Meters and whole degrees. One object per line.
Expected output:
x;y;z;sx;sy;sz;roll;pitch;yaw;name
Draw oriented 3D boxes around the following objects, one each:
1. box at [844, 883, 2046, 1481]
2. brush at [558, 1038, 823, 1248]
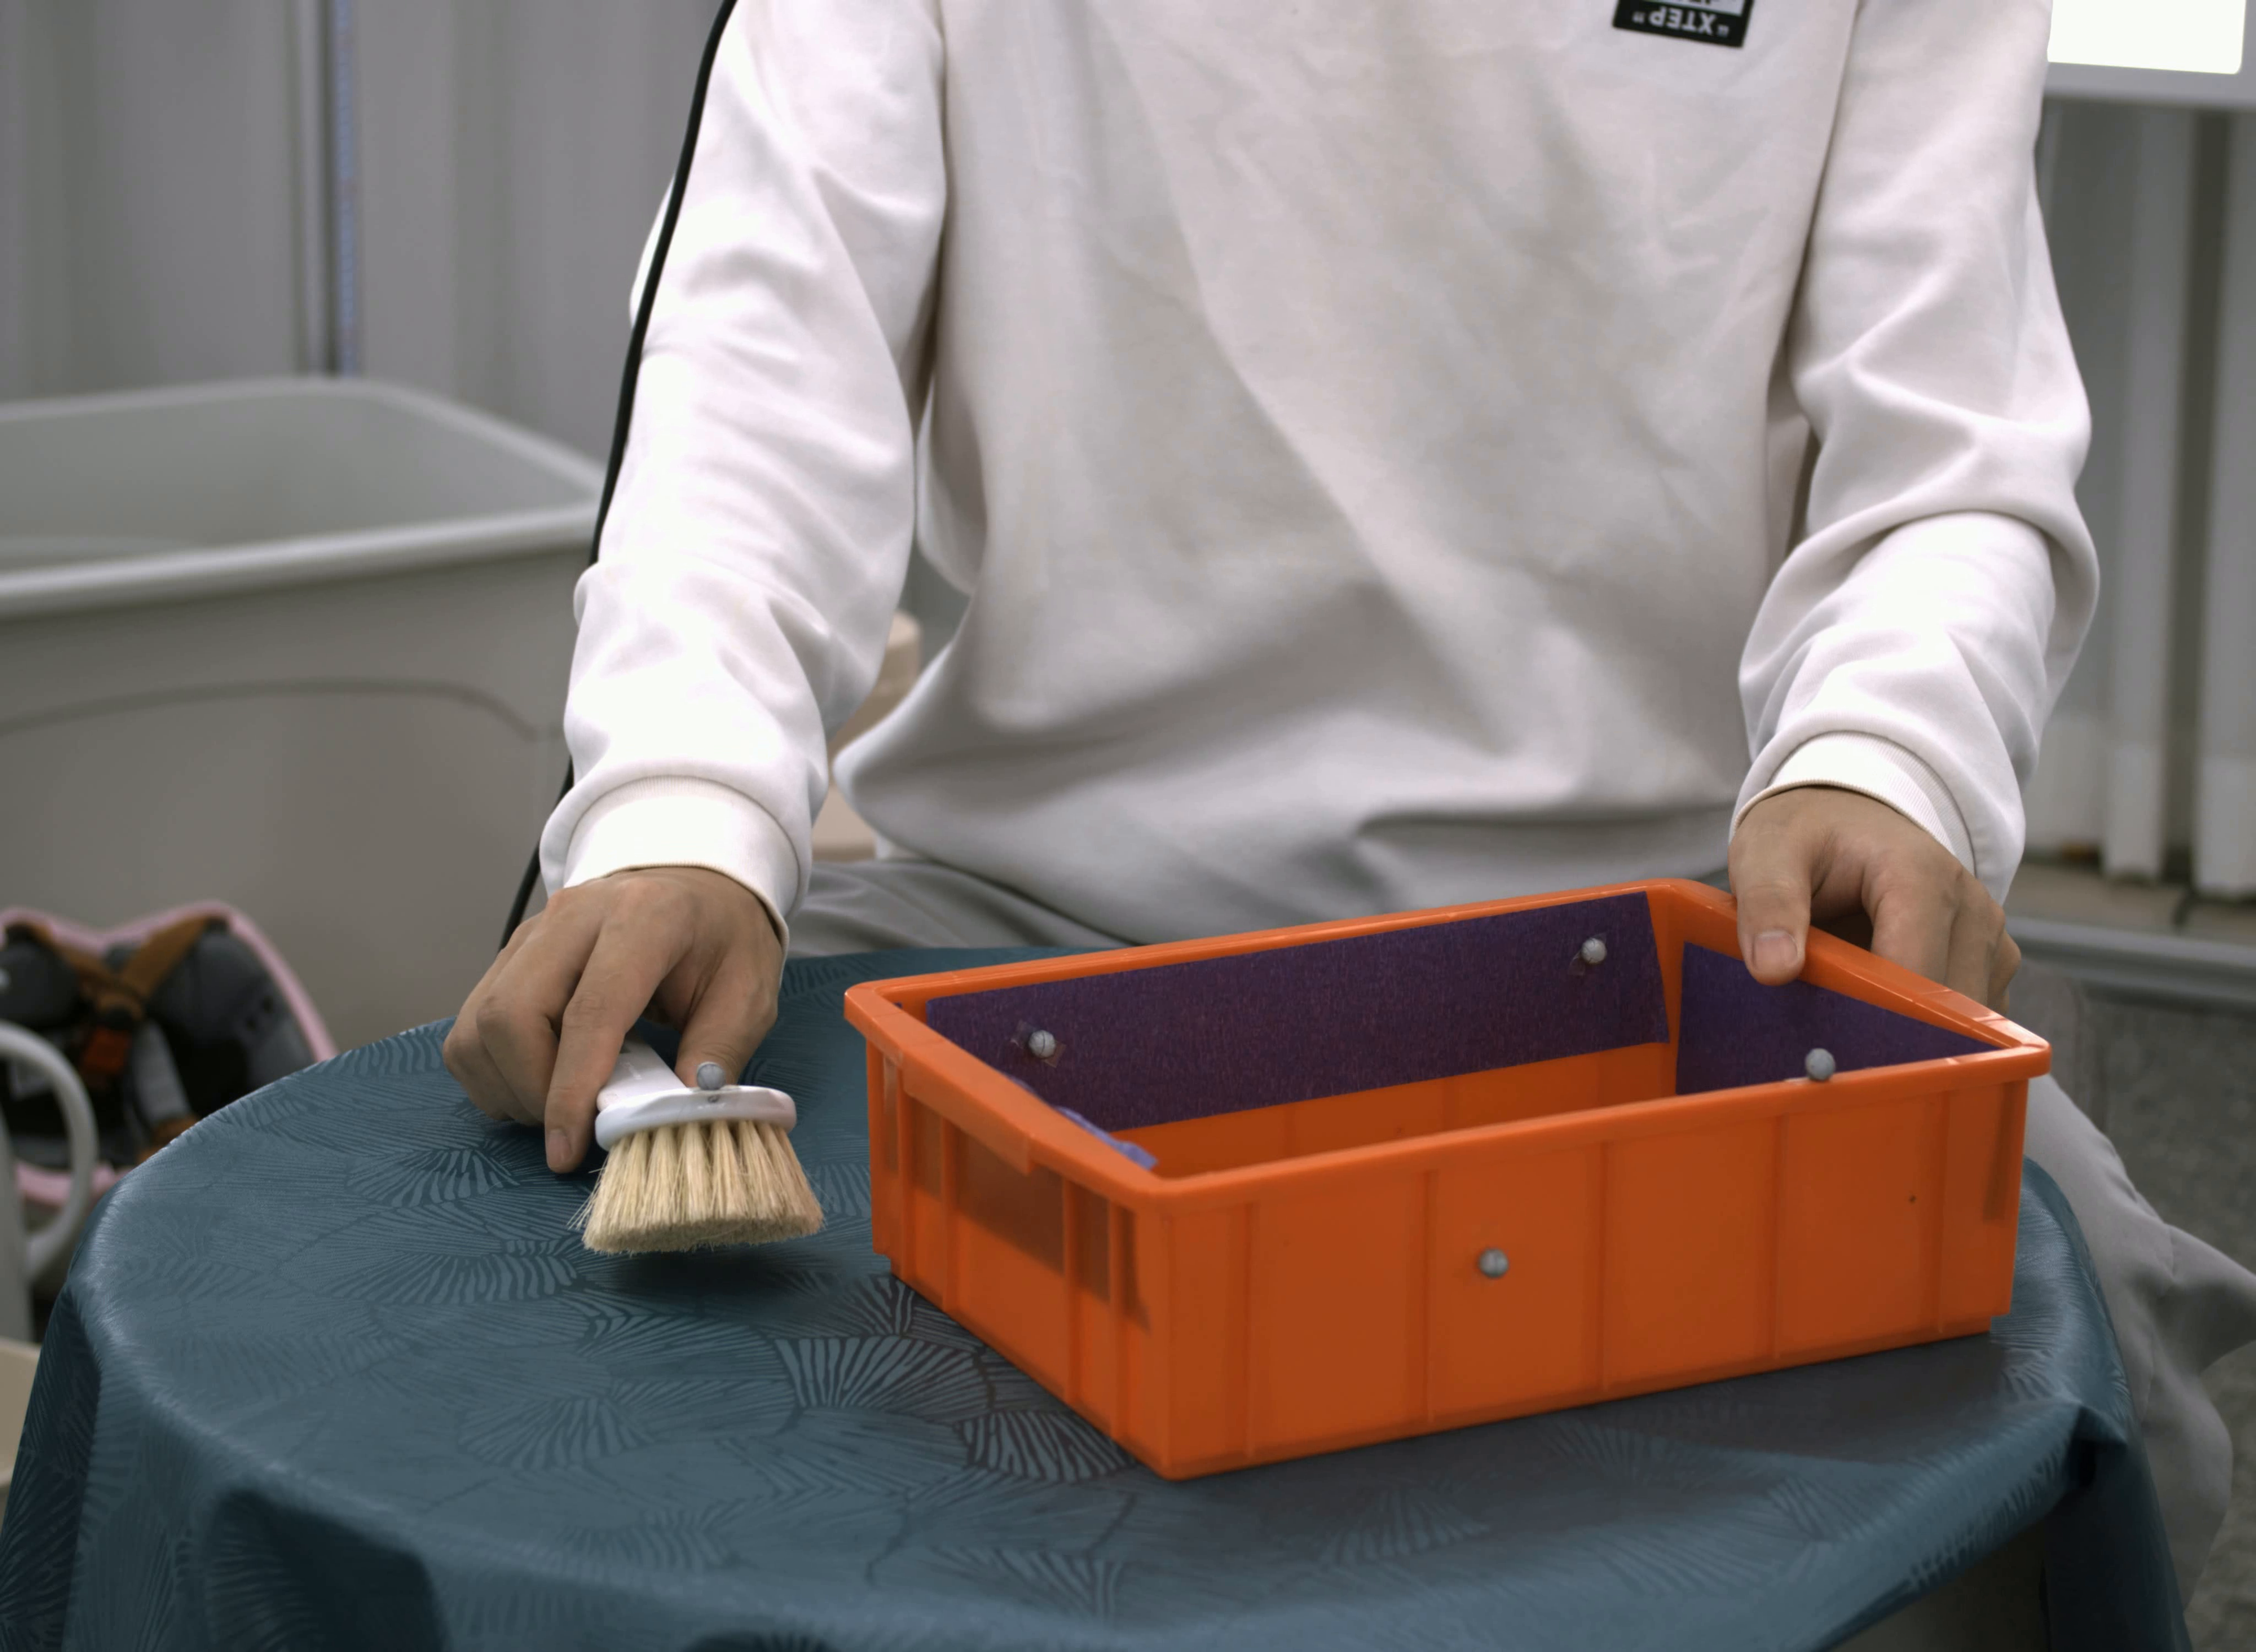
0.088;0.098;1.526;0.305;0.097;0.204;-5;16;-26;box
-0.147;0.097;1.645;0.069;0.056;0.265;11;-4;-15;brush
